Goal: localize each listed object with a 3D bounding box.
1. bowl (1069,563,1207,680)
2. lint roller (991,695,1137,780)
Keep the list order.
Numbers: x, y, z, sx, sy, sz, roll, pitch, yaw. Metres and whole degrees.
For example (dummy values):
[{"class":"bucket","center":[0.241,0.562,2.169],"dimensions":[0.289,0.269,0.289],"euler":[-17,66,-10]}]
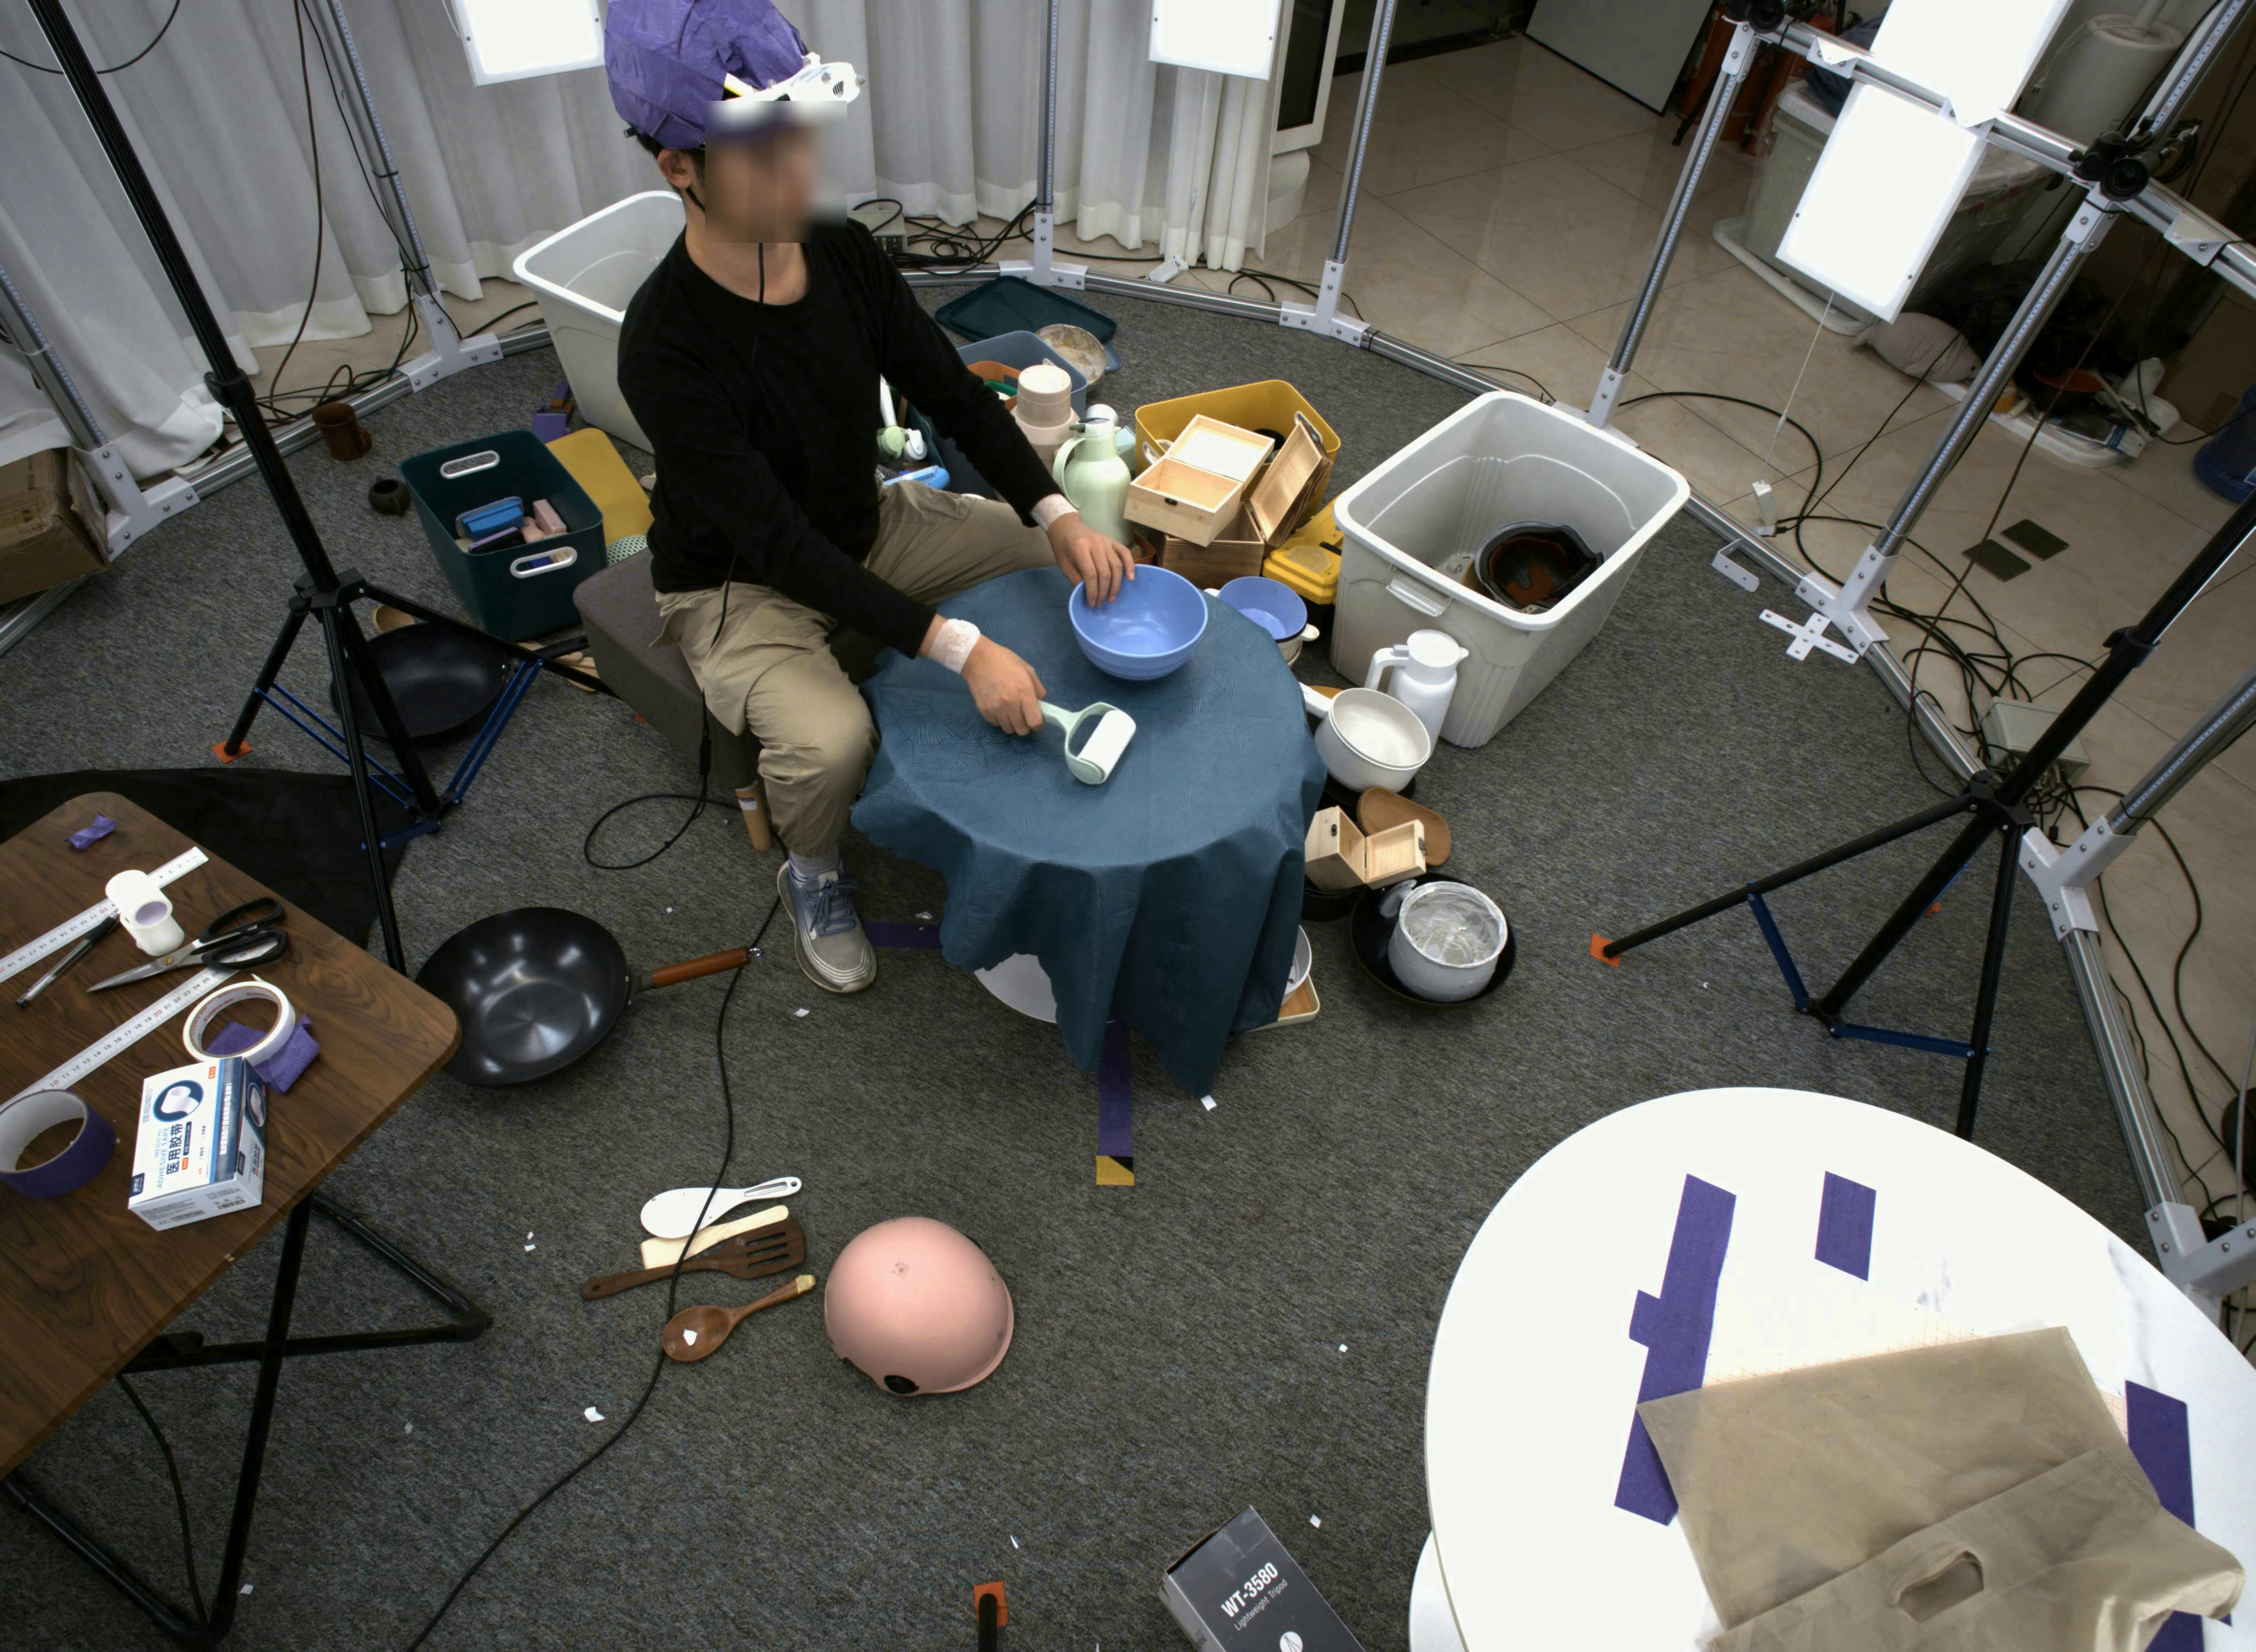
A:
[{"class":"bowl","center":[0.012,-0.279,1.850],"dimensions":[0.196,0.093,0.201],"euler":[1,51,-2]},{"class":"lint roller","center":[-0.094,-0.144,1.745],"dimensions":[0.198,0.047,0.119],"euler":[25,53,7]}]
